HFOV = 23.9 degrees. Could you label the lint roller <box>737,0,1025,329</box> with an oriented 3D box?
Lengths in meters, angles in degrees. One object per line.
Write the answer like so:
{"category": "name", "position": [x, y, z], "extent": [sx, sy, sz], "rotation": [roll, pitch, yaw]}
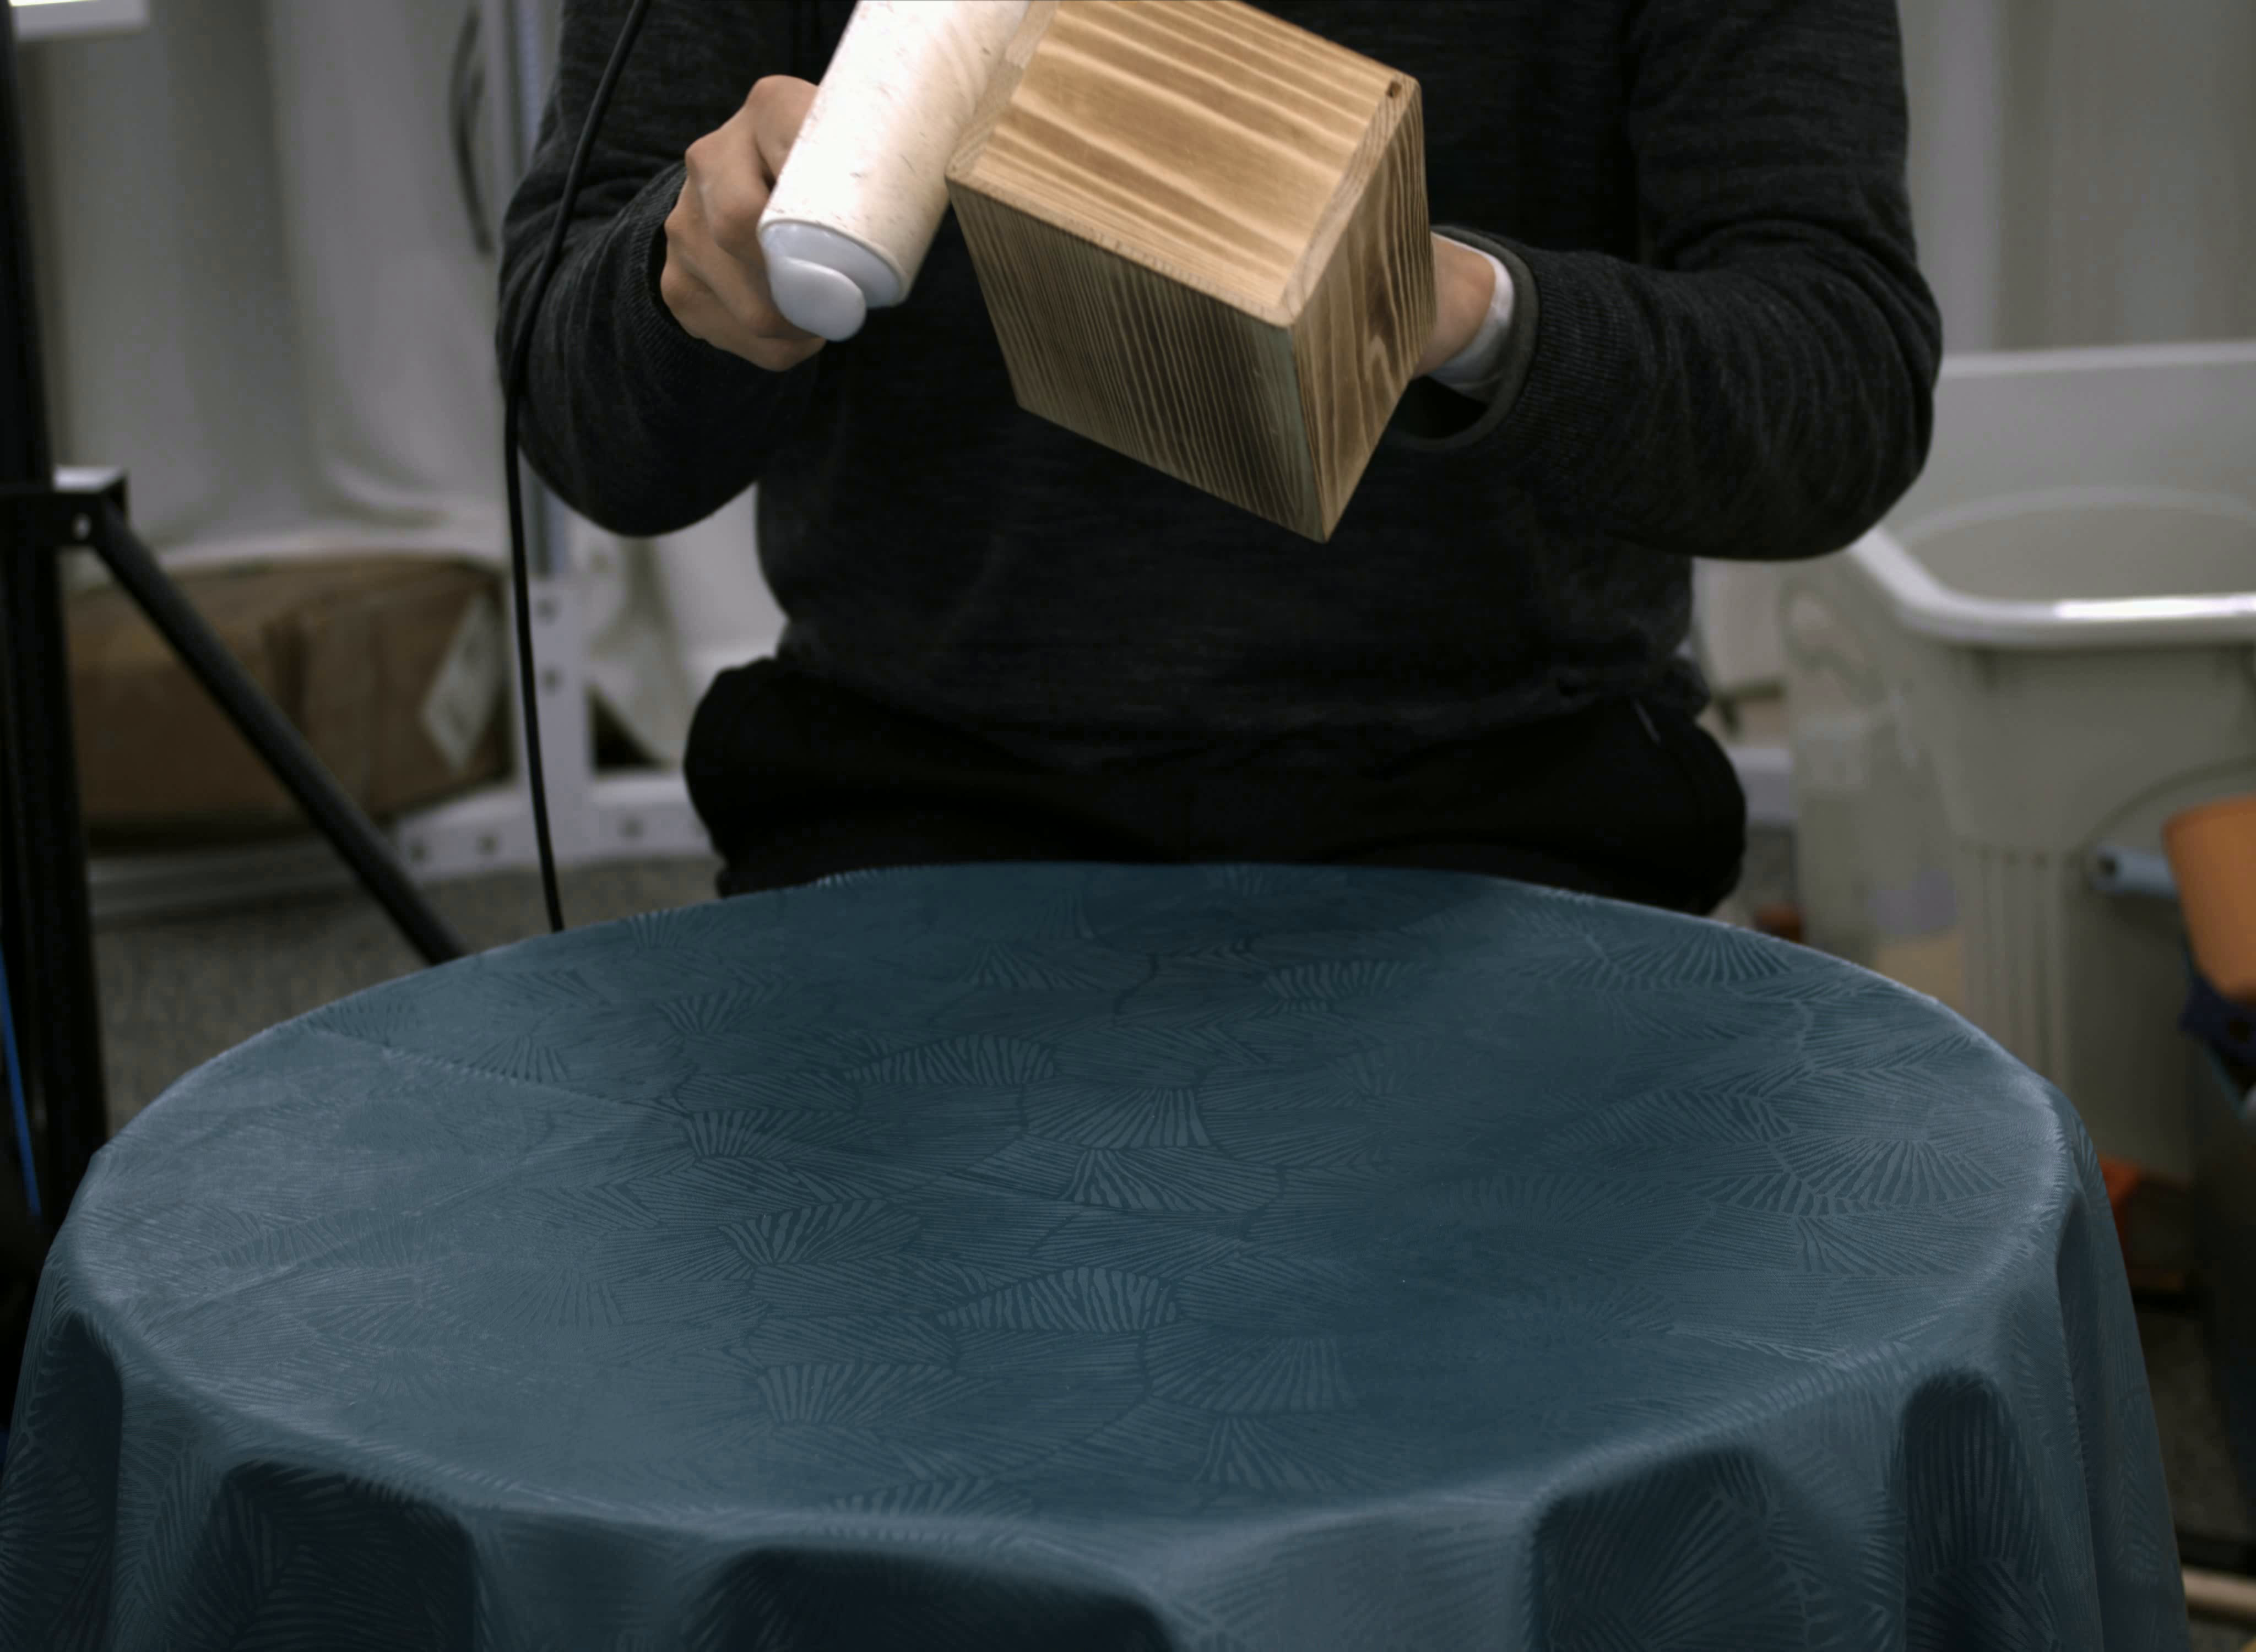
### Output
{"category": "lint roller", "position": [-0.093, -0.194, 1.574], "extent": [0.049, 0.133, 0.183], "rotation": [27, -18, -19]}

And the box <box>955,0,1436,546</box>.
{"category": "box", "position": [0.024, -0.164, 1.523], "extent": [0.108, 0.080, 0.210], "rotation": [25, -11, 9]}
